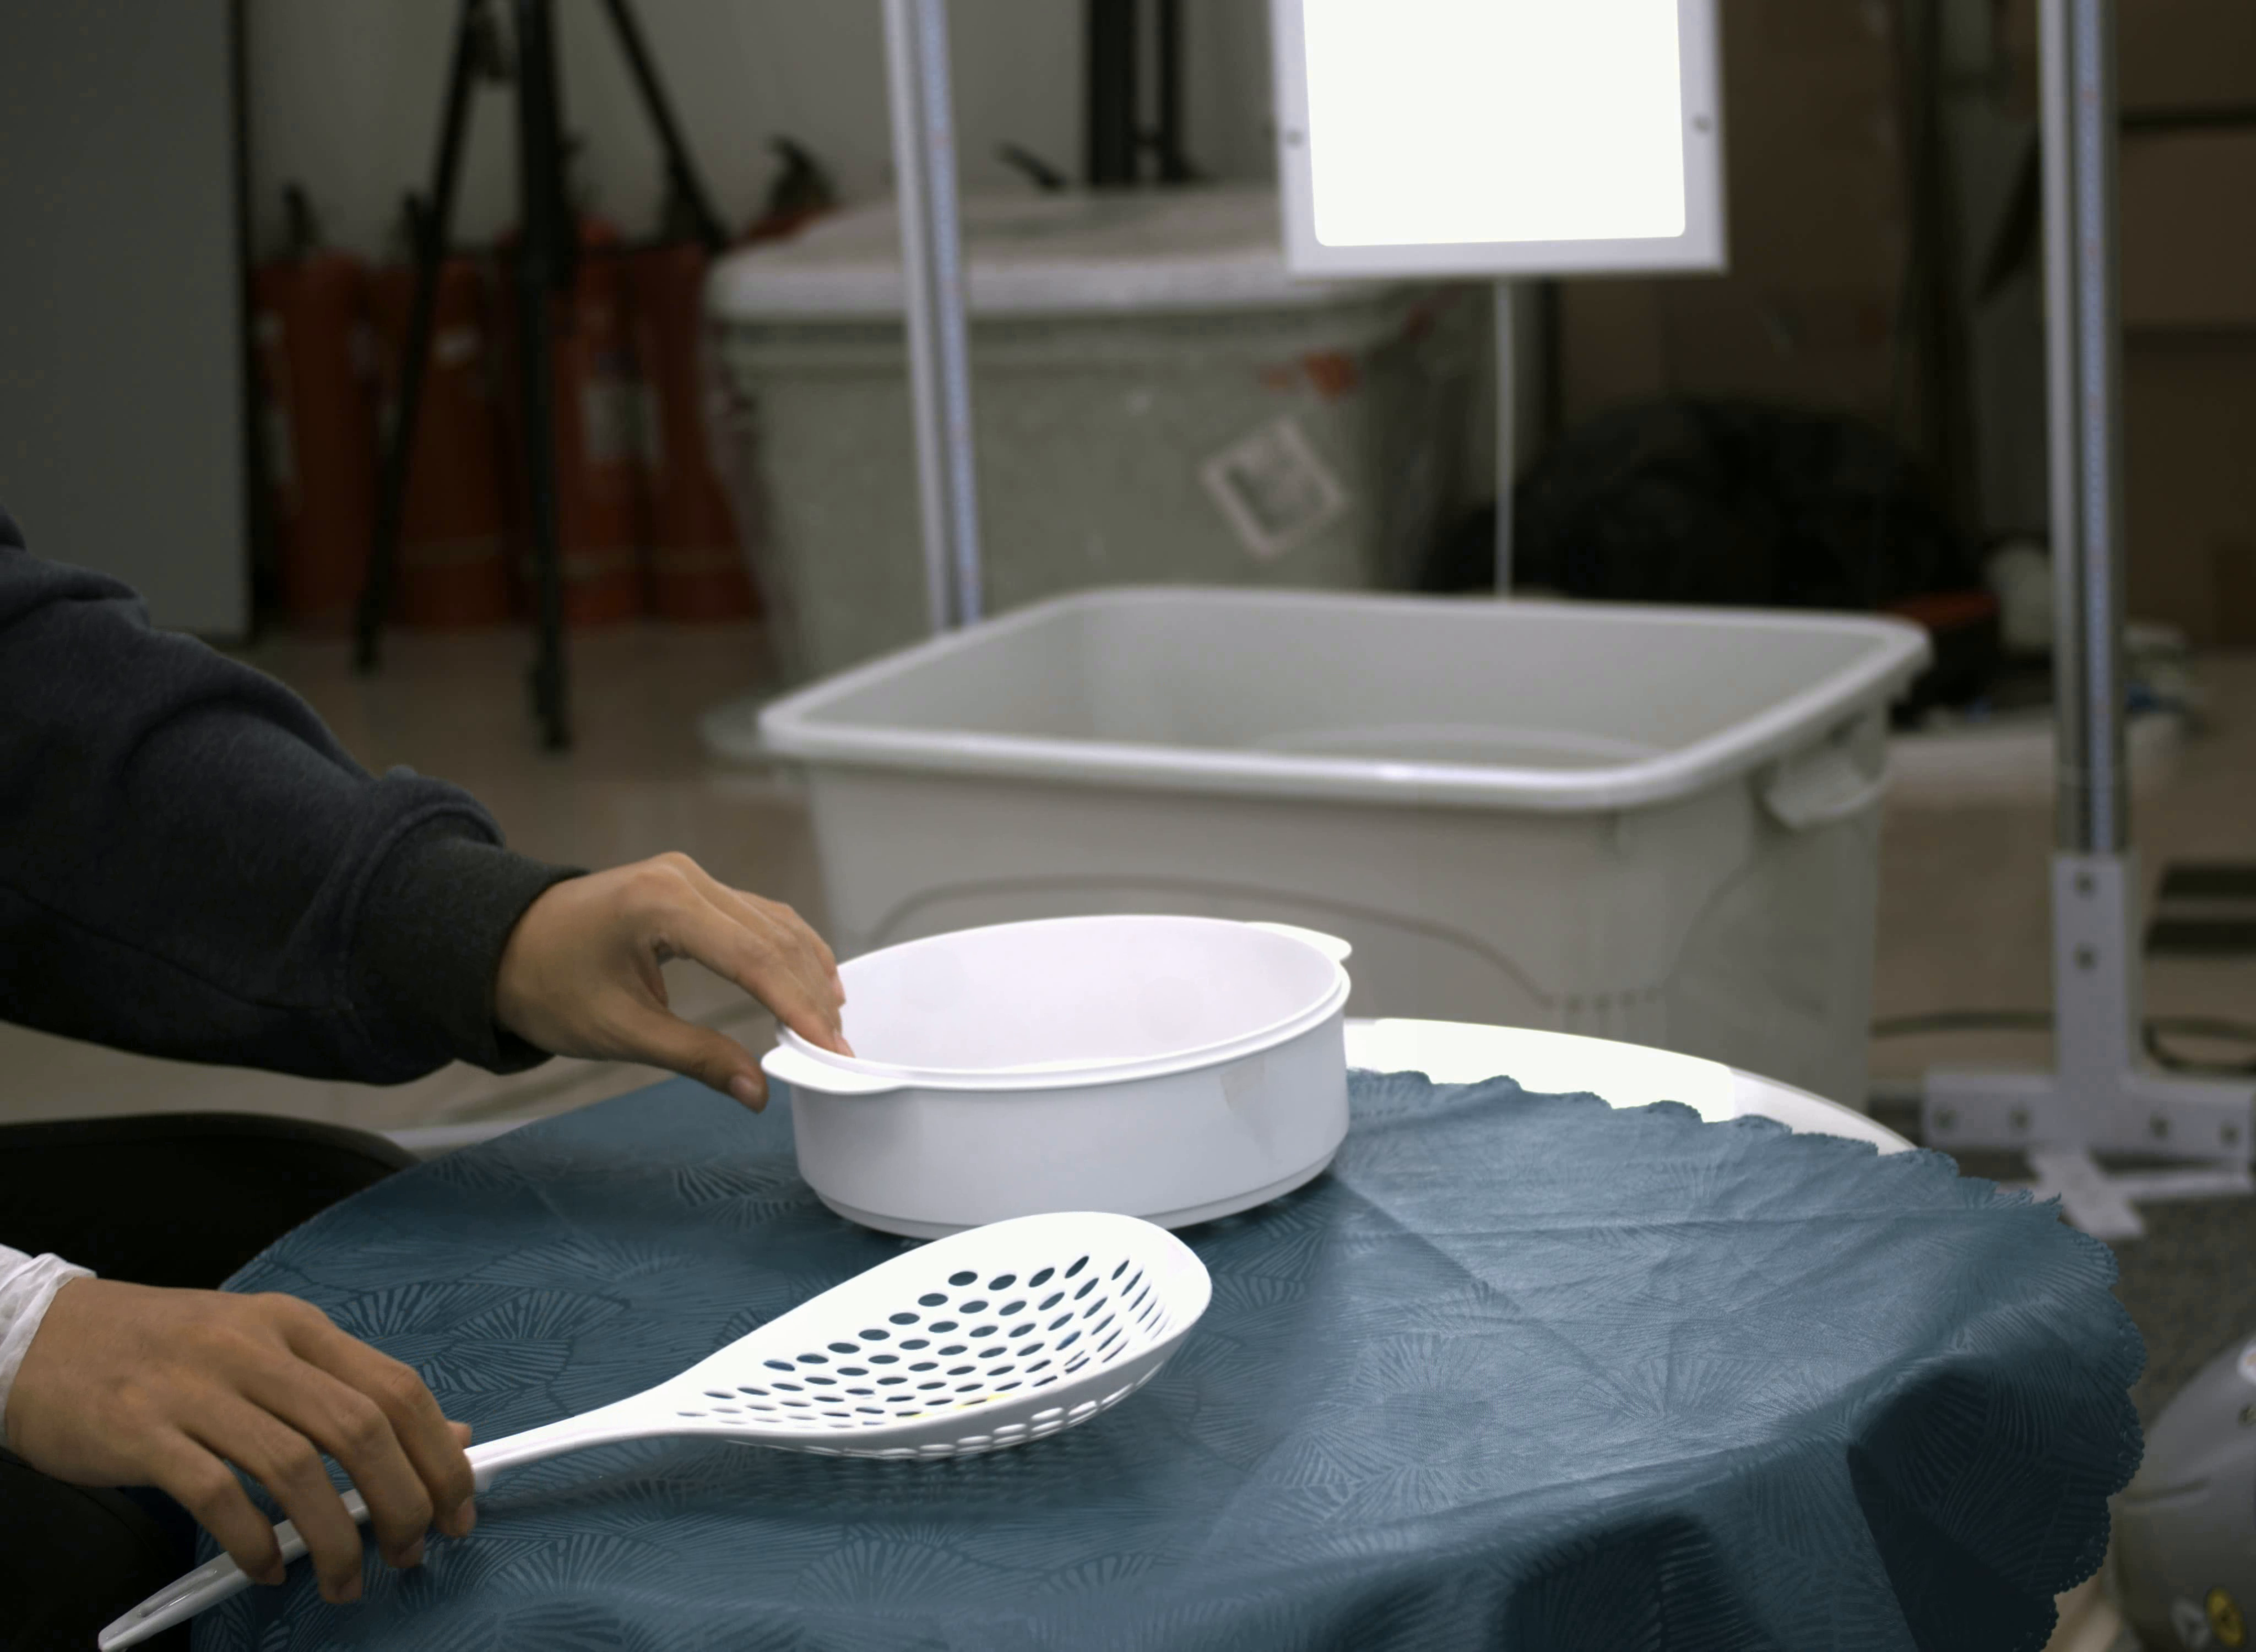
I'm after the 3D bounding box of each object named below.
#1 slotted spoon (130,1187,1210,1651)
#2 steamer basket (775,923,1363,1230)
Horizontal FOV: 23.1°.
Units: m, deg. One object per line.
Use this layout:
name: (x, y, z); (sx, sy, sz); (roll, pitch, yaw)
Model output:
slotted spoon: (-0.141, 0.187, 1.655); (0.344, 0.050, 0.138); (-14, 21, -10)
steamer basket: (-0.016, 0.088, 1.919); (0.225, 0.069, 0.206); (-12, 15, -35)
